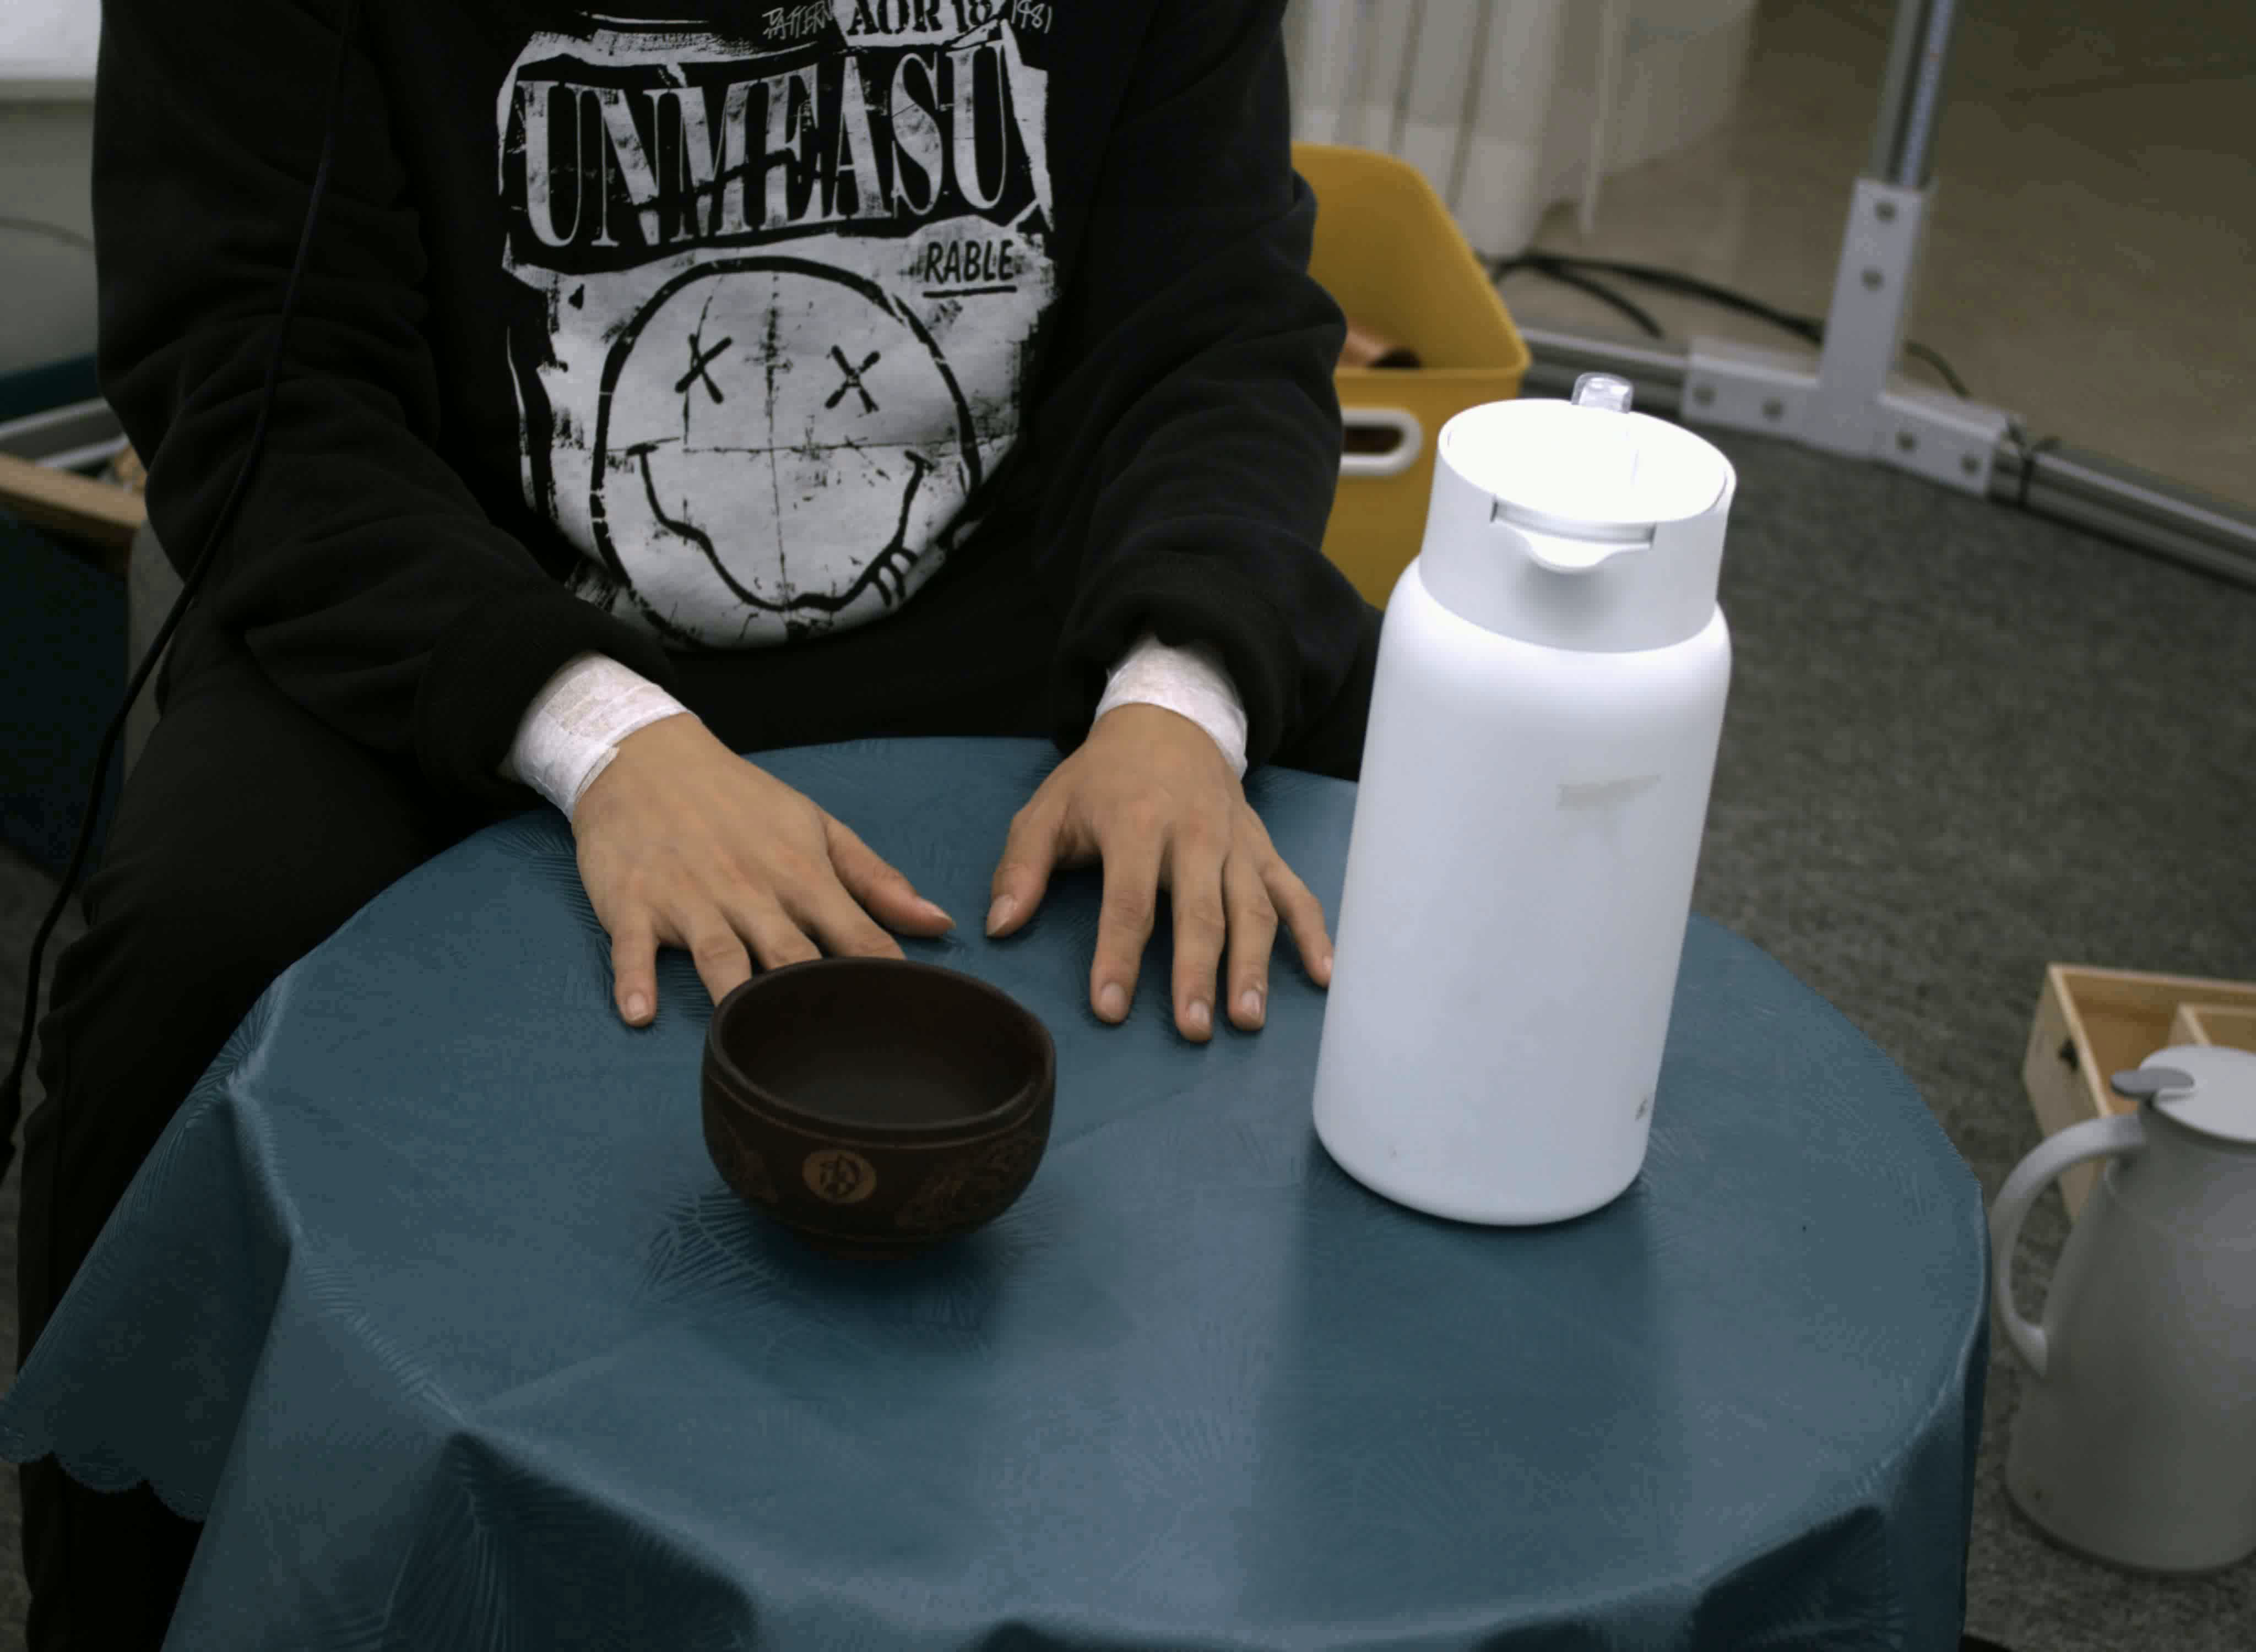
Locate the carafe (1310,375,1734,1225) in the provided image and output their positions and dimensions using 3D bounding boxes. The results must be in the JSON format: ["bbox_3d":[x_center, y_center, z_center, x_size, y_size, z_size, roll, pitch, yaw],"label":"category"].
[{"bbox_3d":[0.136,-0.013,1.810,0.123,0.268,0.173,7,26,6],"label":"carafe"}]

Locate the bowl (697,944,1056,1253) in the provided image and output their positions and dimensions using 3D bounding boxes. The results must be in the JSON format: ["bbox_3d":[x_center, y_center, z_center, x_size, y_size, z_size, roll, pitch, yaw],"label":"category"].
[{"bbox_3d":[-0.084,0.097,1.756,0.117,0.069,0.119,5,28,-3],"label":"bowl"}]
